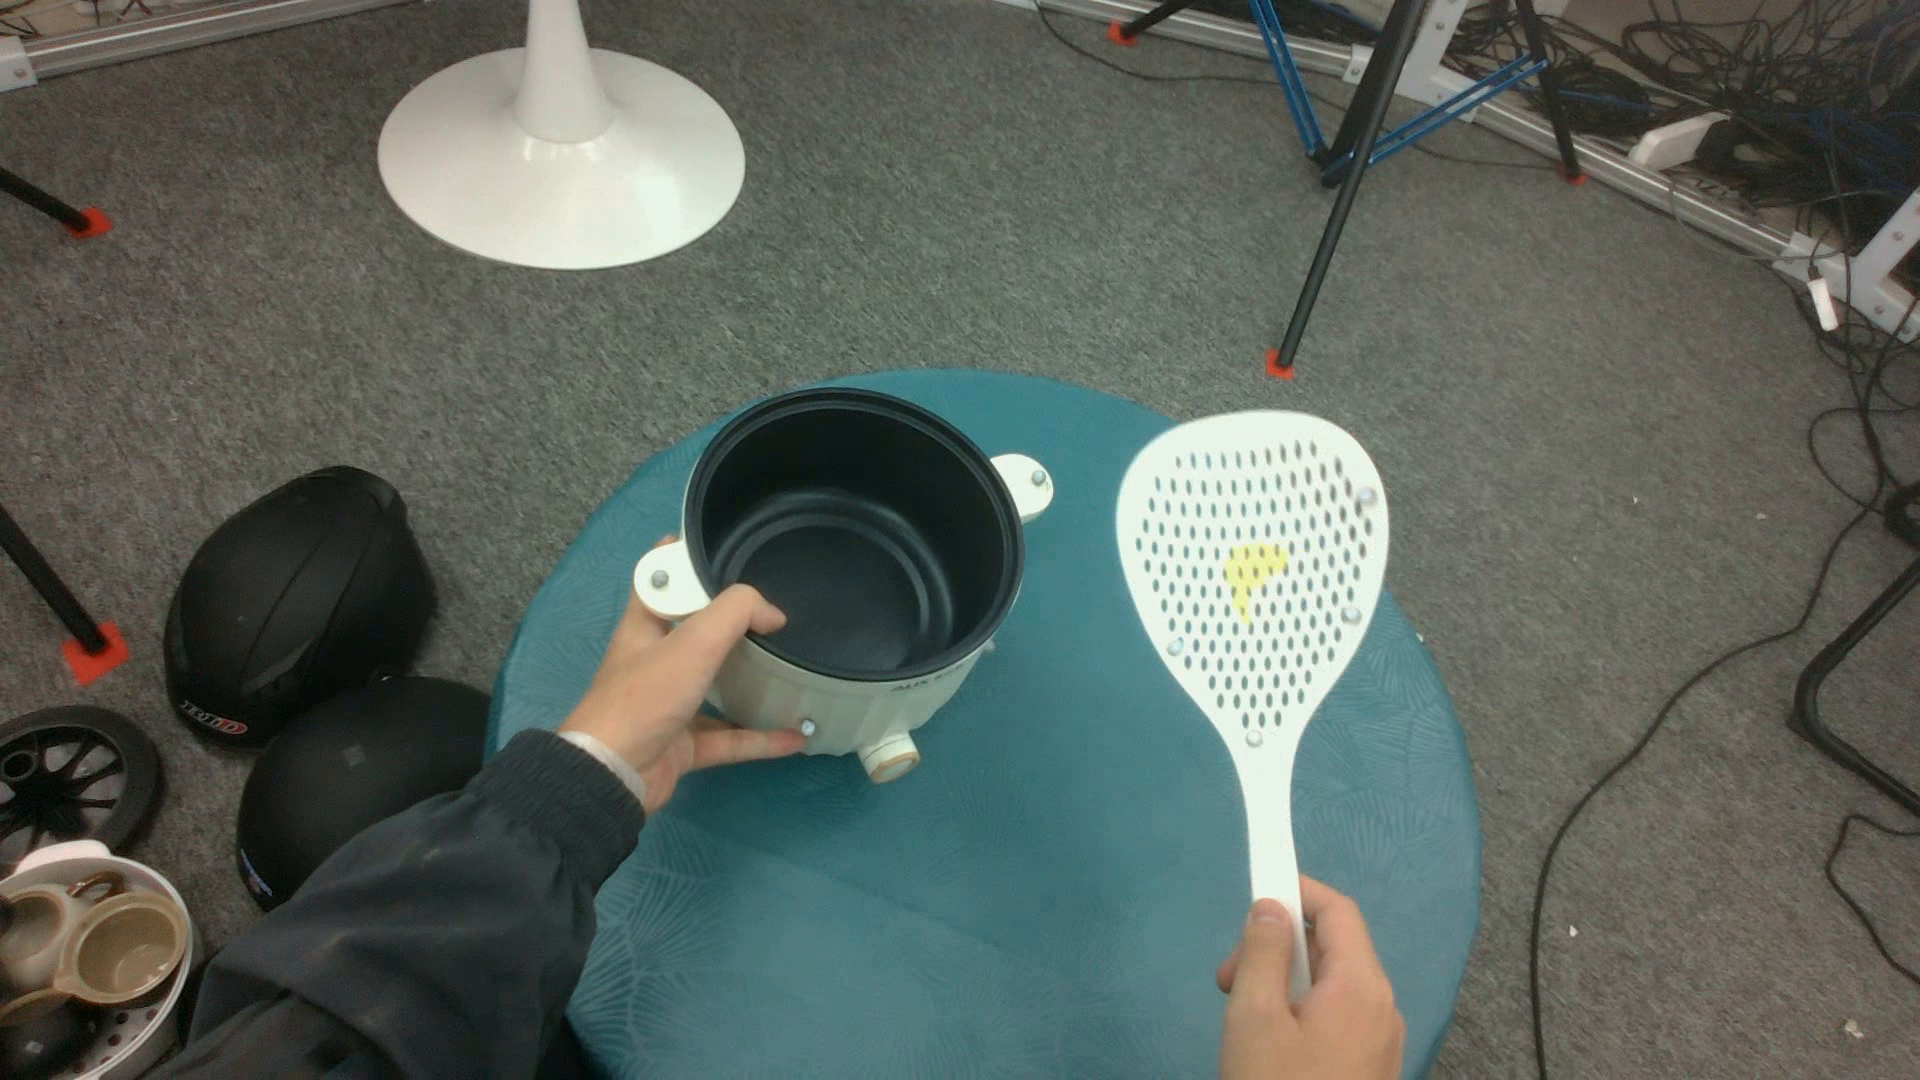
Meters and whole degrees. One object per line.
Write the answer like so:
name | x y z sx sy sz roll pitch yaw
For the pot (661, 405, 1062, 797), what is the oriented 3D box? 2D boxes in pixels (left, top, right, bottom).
pot | -0.055 0.041 0.784 0.241 0.142 0.191 -21 62 -25

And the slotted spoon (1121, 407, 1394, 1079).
slotted spoon | 0.159 0.096 0.671 0.136 0.050 0.349 -9 62 14
